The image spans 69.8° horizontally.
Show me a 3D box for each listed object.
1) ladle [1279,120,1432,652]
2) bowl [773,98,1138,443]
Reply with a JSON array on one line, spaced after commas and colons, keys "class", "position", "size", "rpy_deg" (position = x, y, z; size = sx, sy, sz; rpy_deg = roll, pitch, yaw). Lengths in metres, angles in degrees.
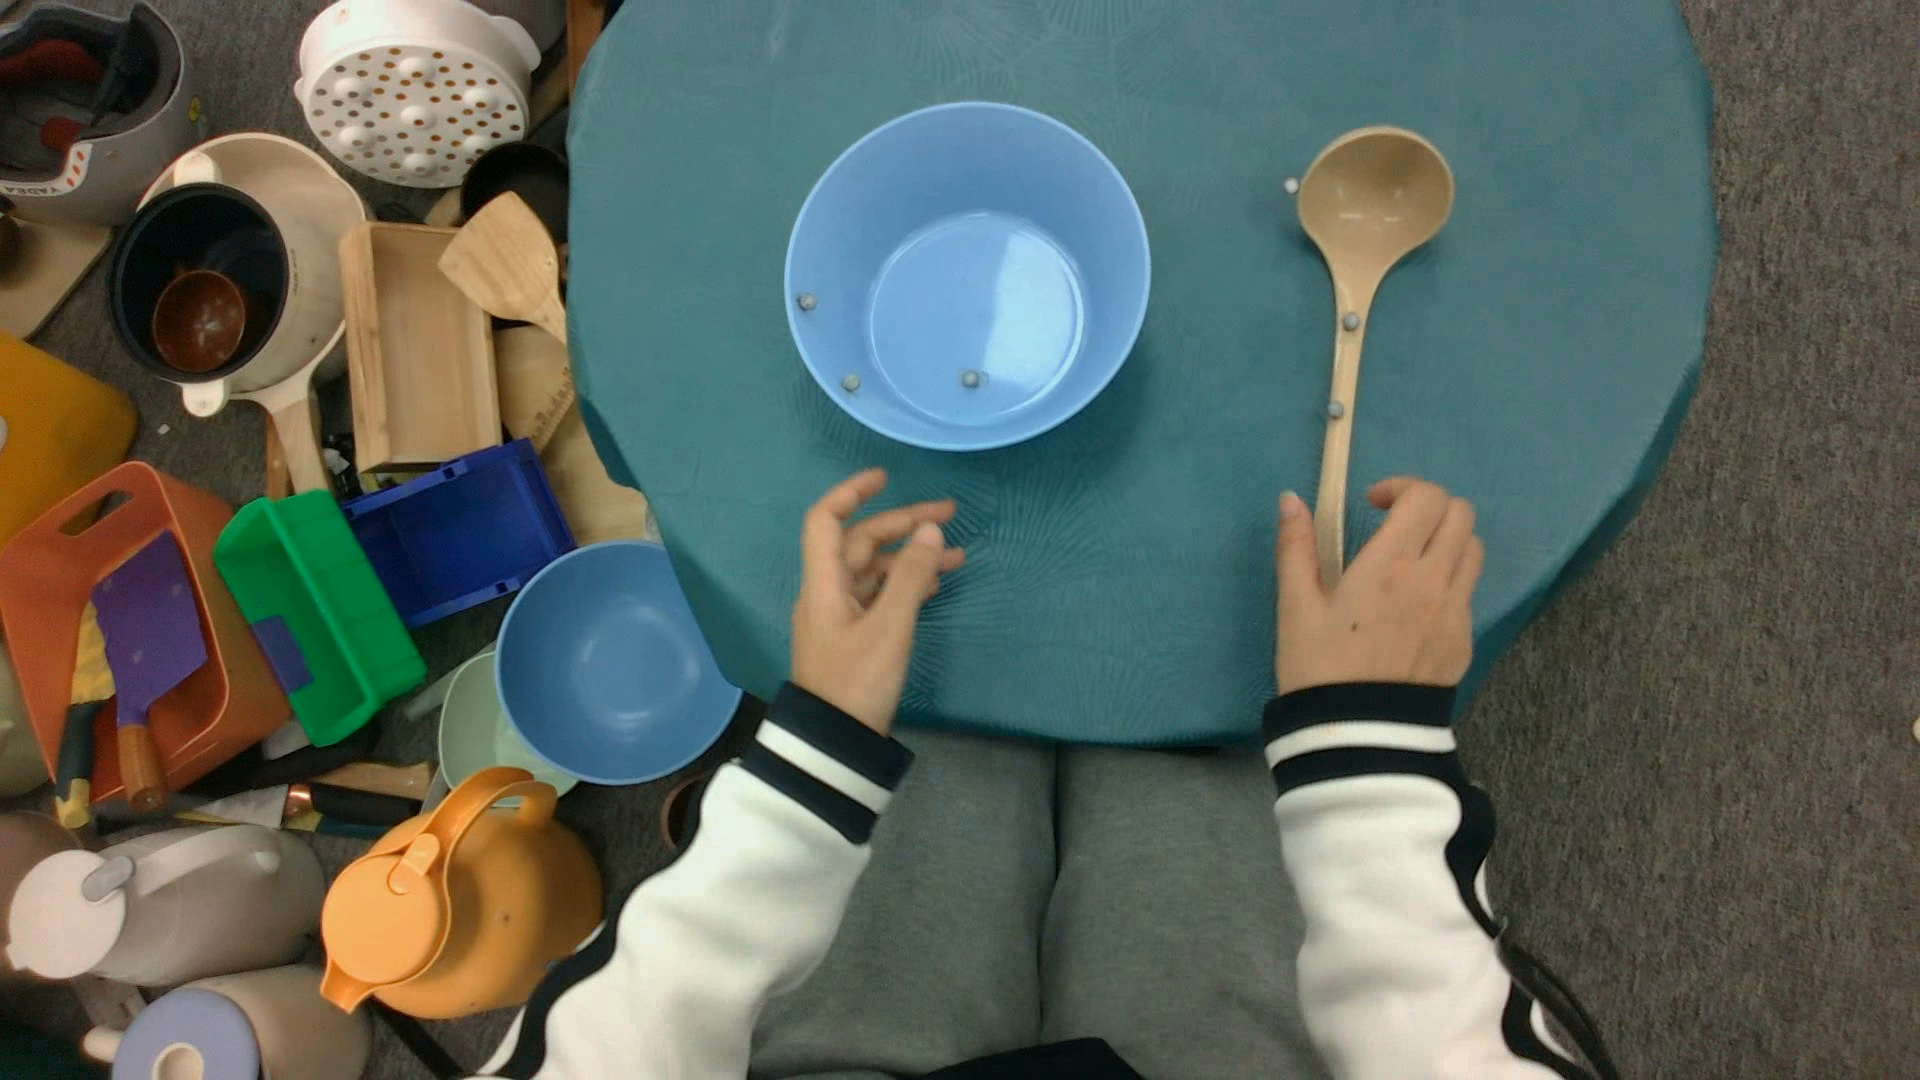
[{"class": "ladle", "position": [0.183, -0.076, 0.659], "size": [0.072, 0.072, 0.255], "rpy_deg": [5, 78, 6]}, {"class": "bowl", "position": [0.000, -0.125, 0.687], "size": [0.176, 0.070, 0.176], "rpy_deg": [-1, 77, 6]}]
